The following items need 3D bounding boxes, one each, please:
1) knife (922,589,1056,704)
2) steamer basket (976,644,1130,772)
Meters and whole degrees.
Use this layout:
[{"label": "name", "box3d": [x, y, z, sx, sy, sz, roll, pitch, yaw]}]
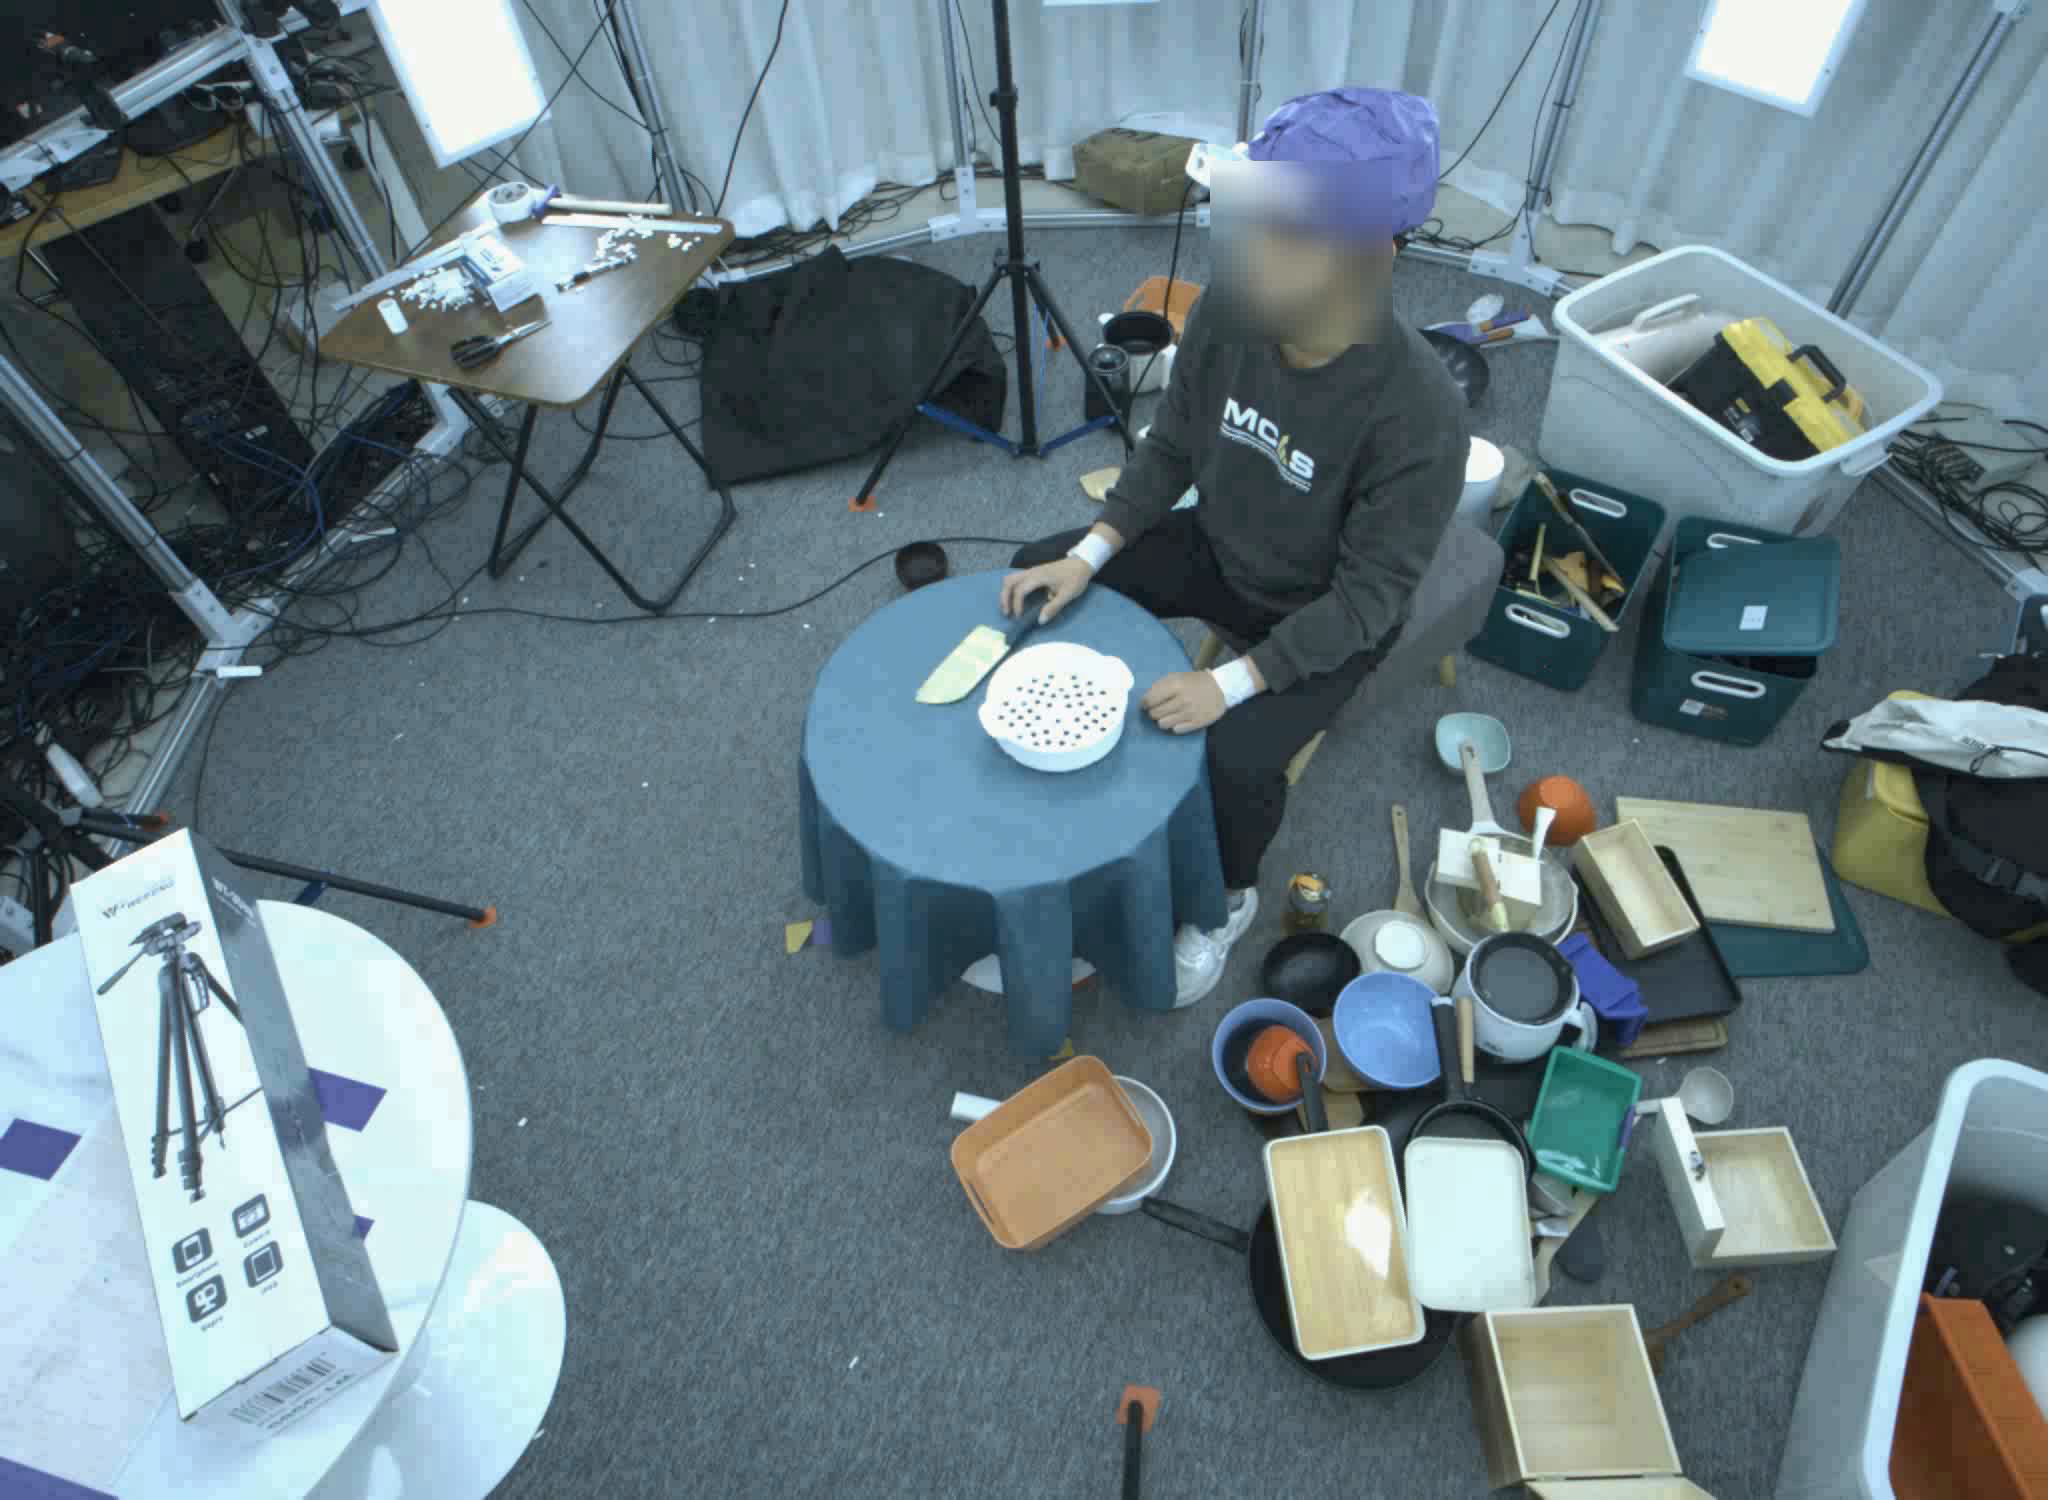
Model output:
[{"label": "knife", "box3d": [-0.054, -0.164, 1.905, 0.079, 0.027, 0.291, 33, 62, 25]}, {"label": "steamer basket", "box3d": [0.043, -0.060, 1.795, 0.232, 0.070, 0.198, -20, 57, -14]}]
